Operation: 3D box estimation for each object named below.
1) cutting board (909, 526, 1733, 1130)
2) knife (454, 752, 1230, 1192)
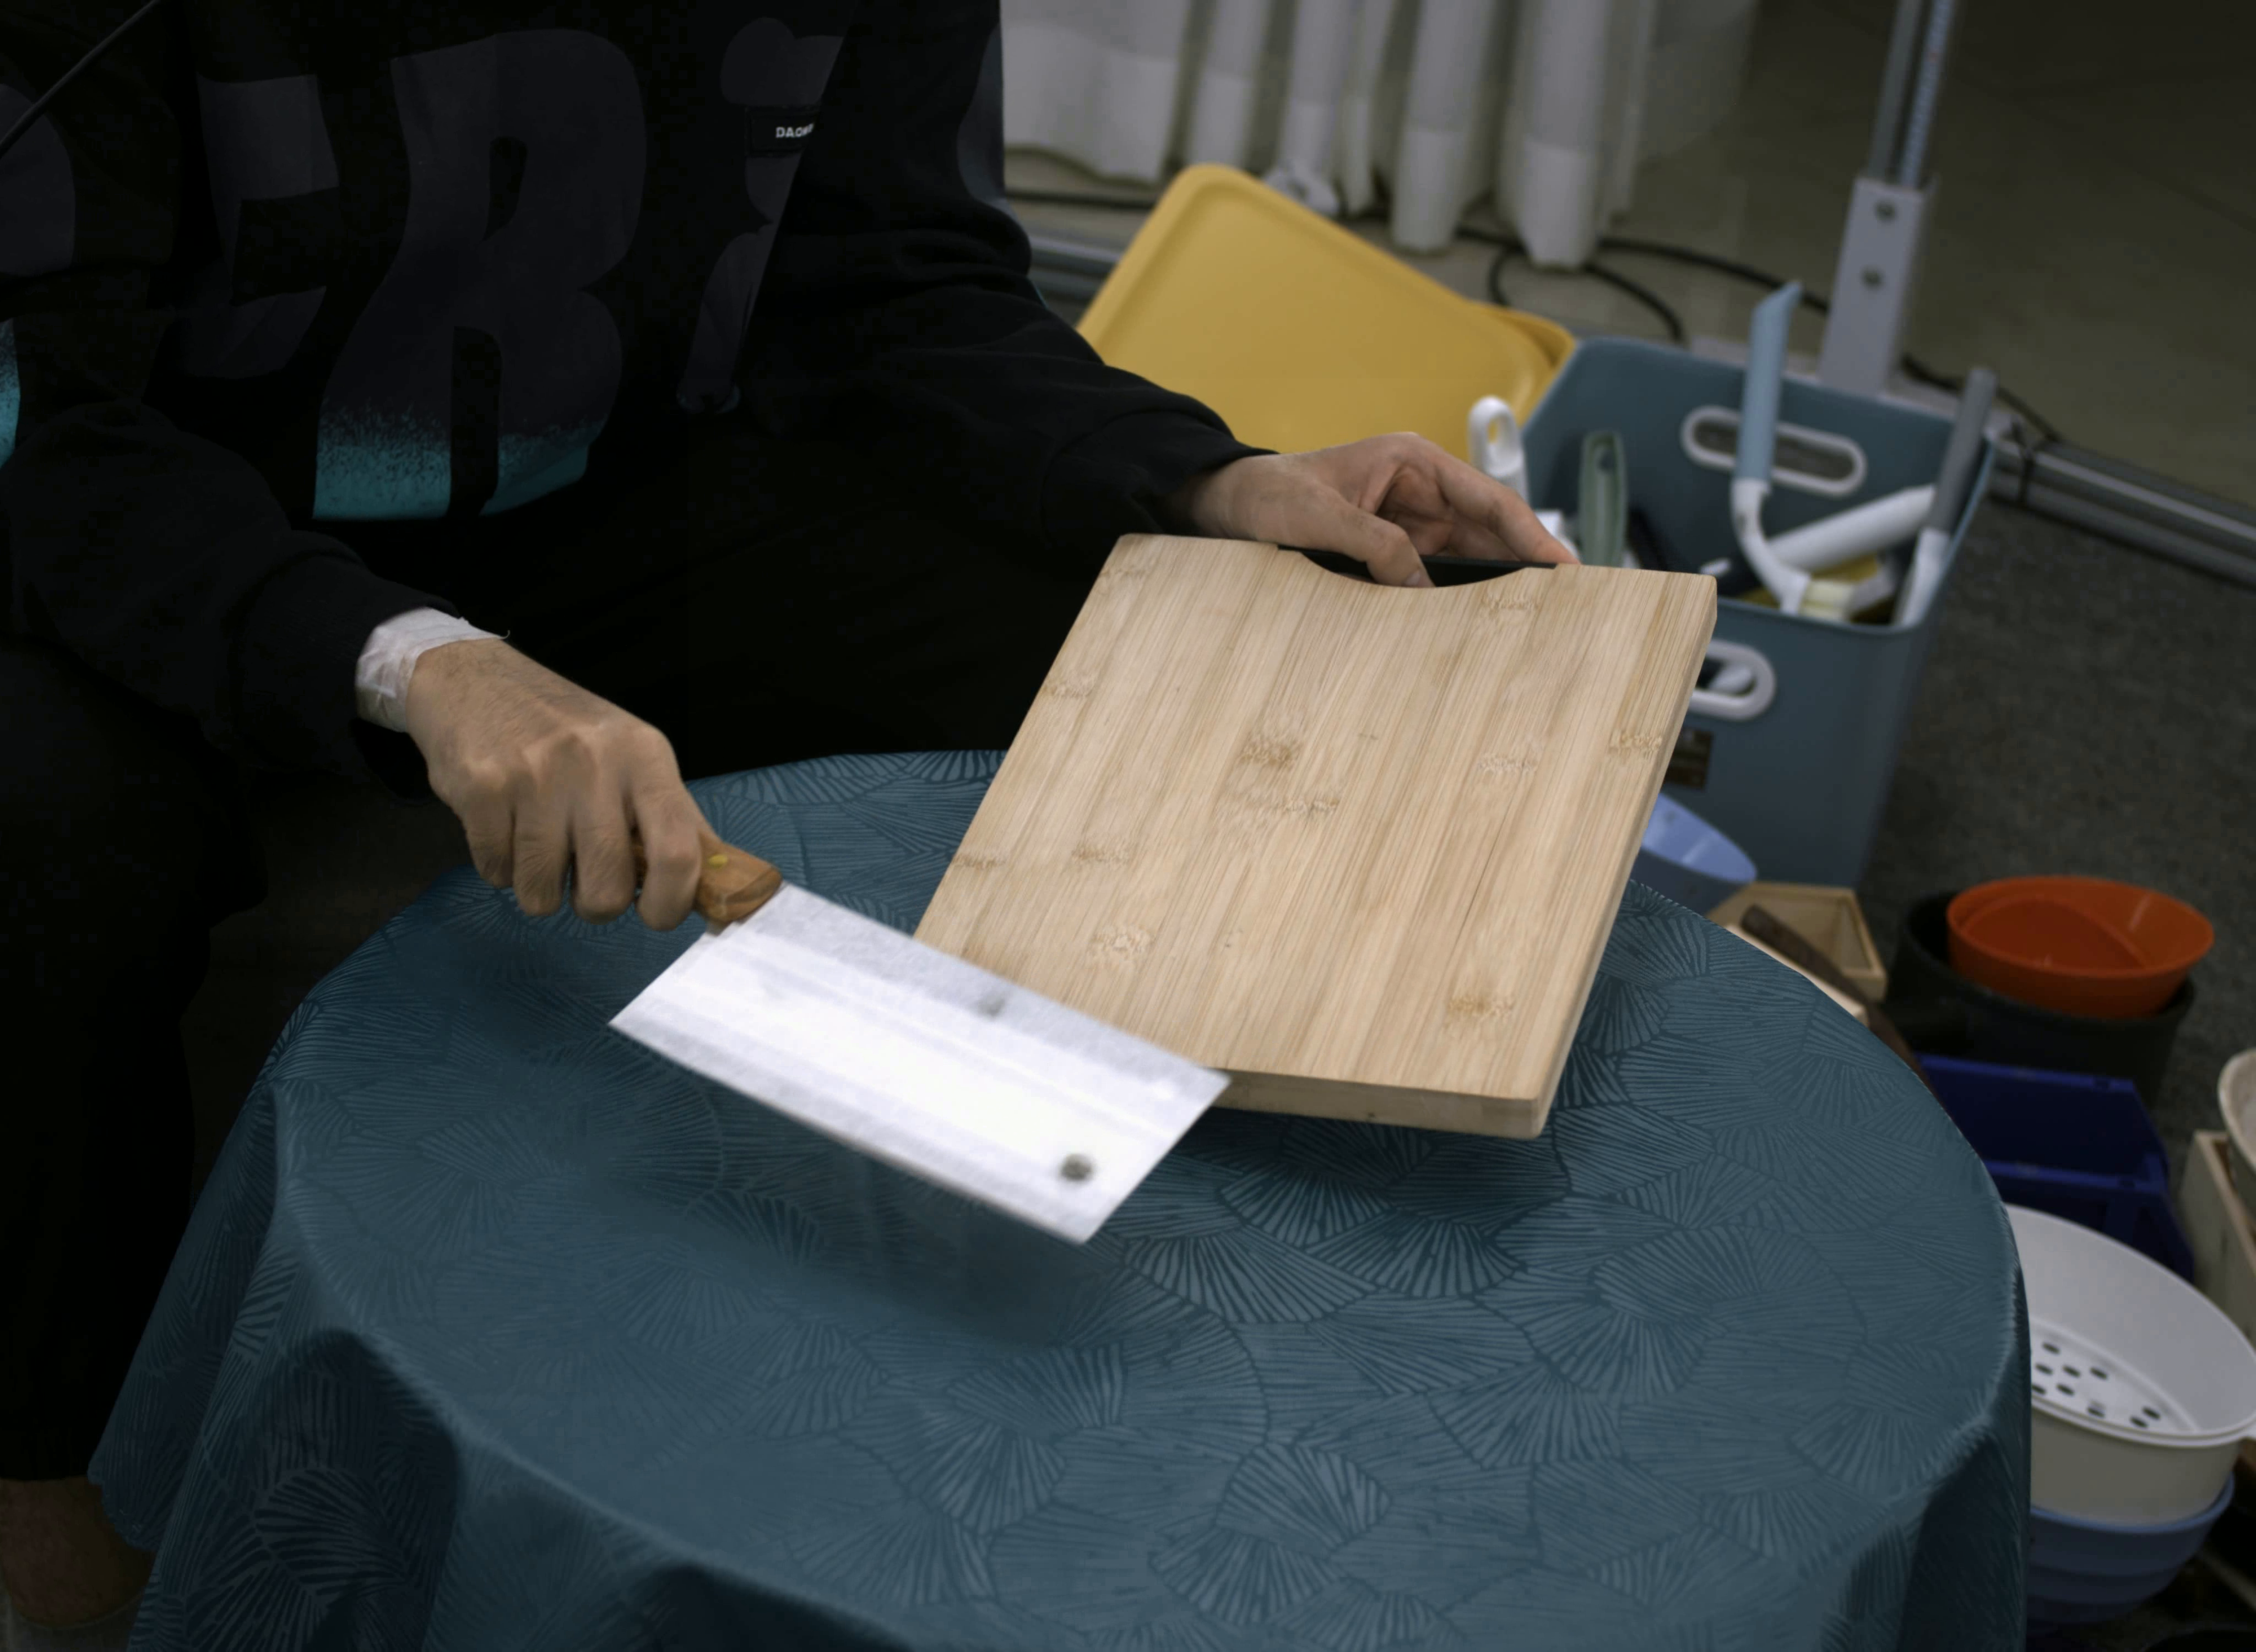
[{"bbox_3d":[0.071,-0.008,1.957,0.251,0.023,0.350,4,35,15],"label":"cutting board"},{"bbox_3d":[-0.113,0.051,1.781,0.307,0.021,0.093,22,46,25],"label":"knife"}]
